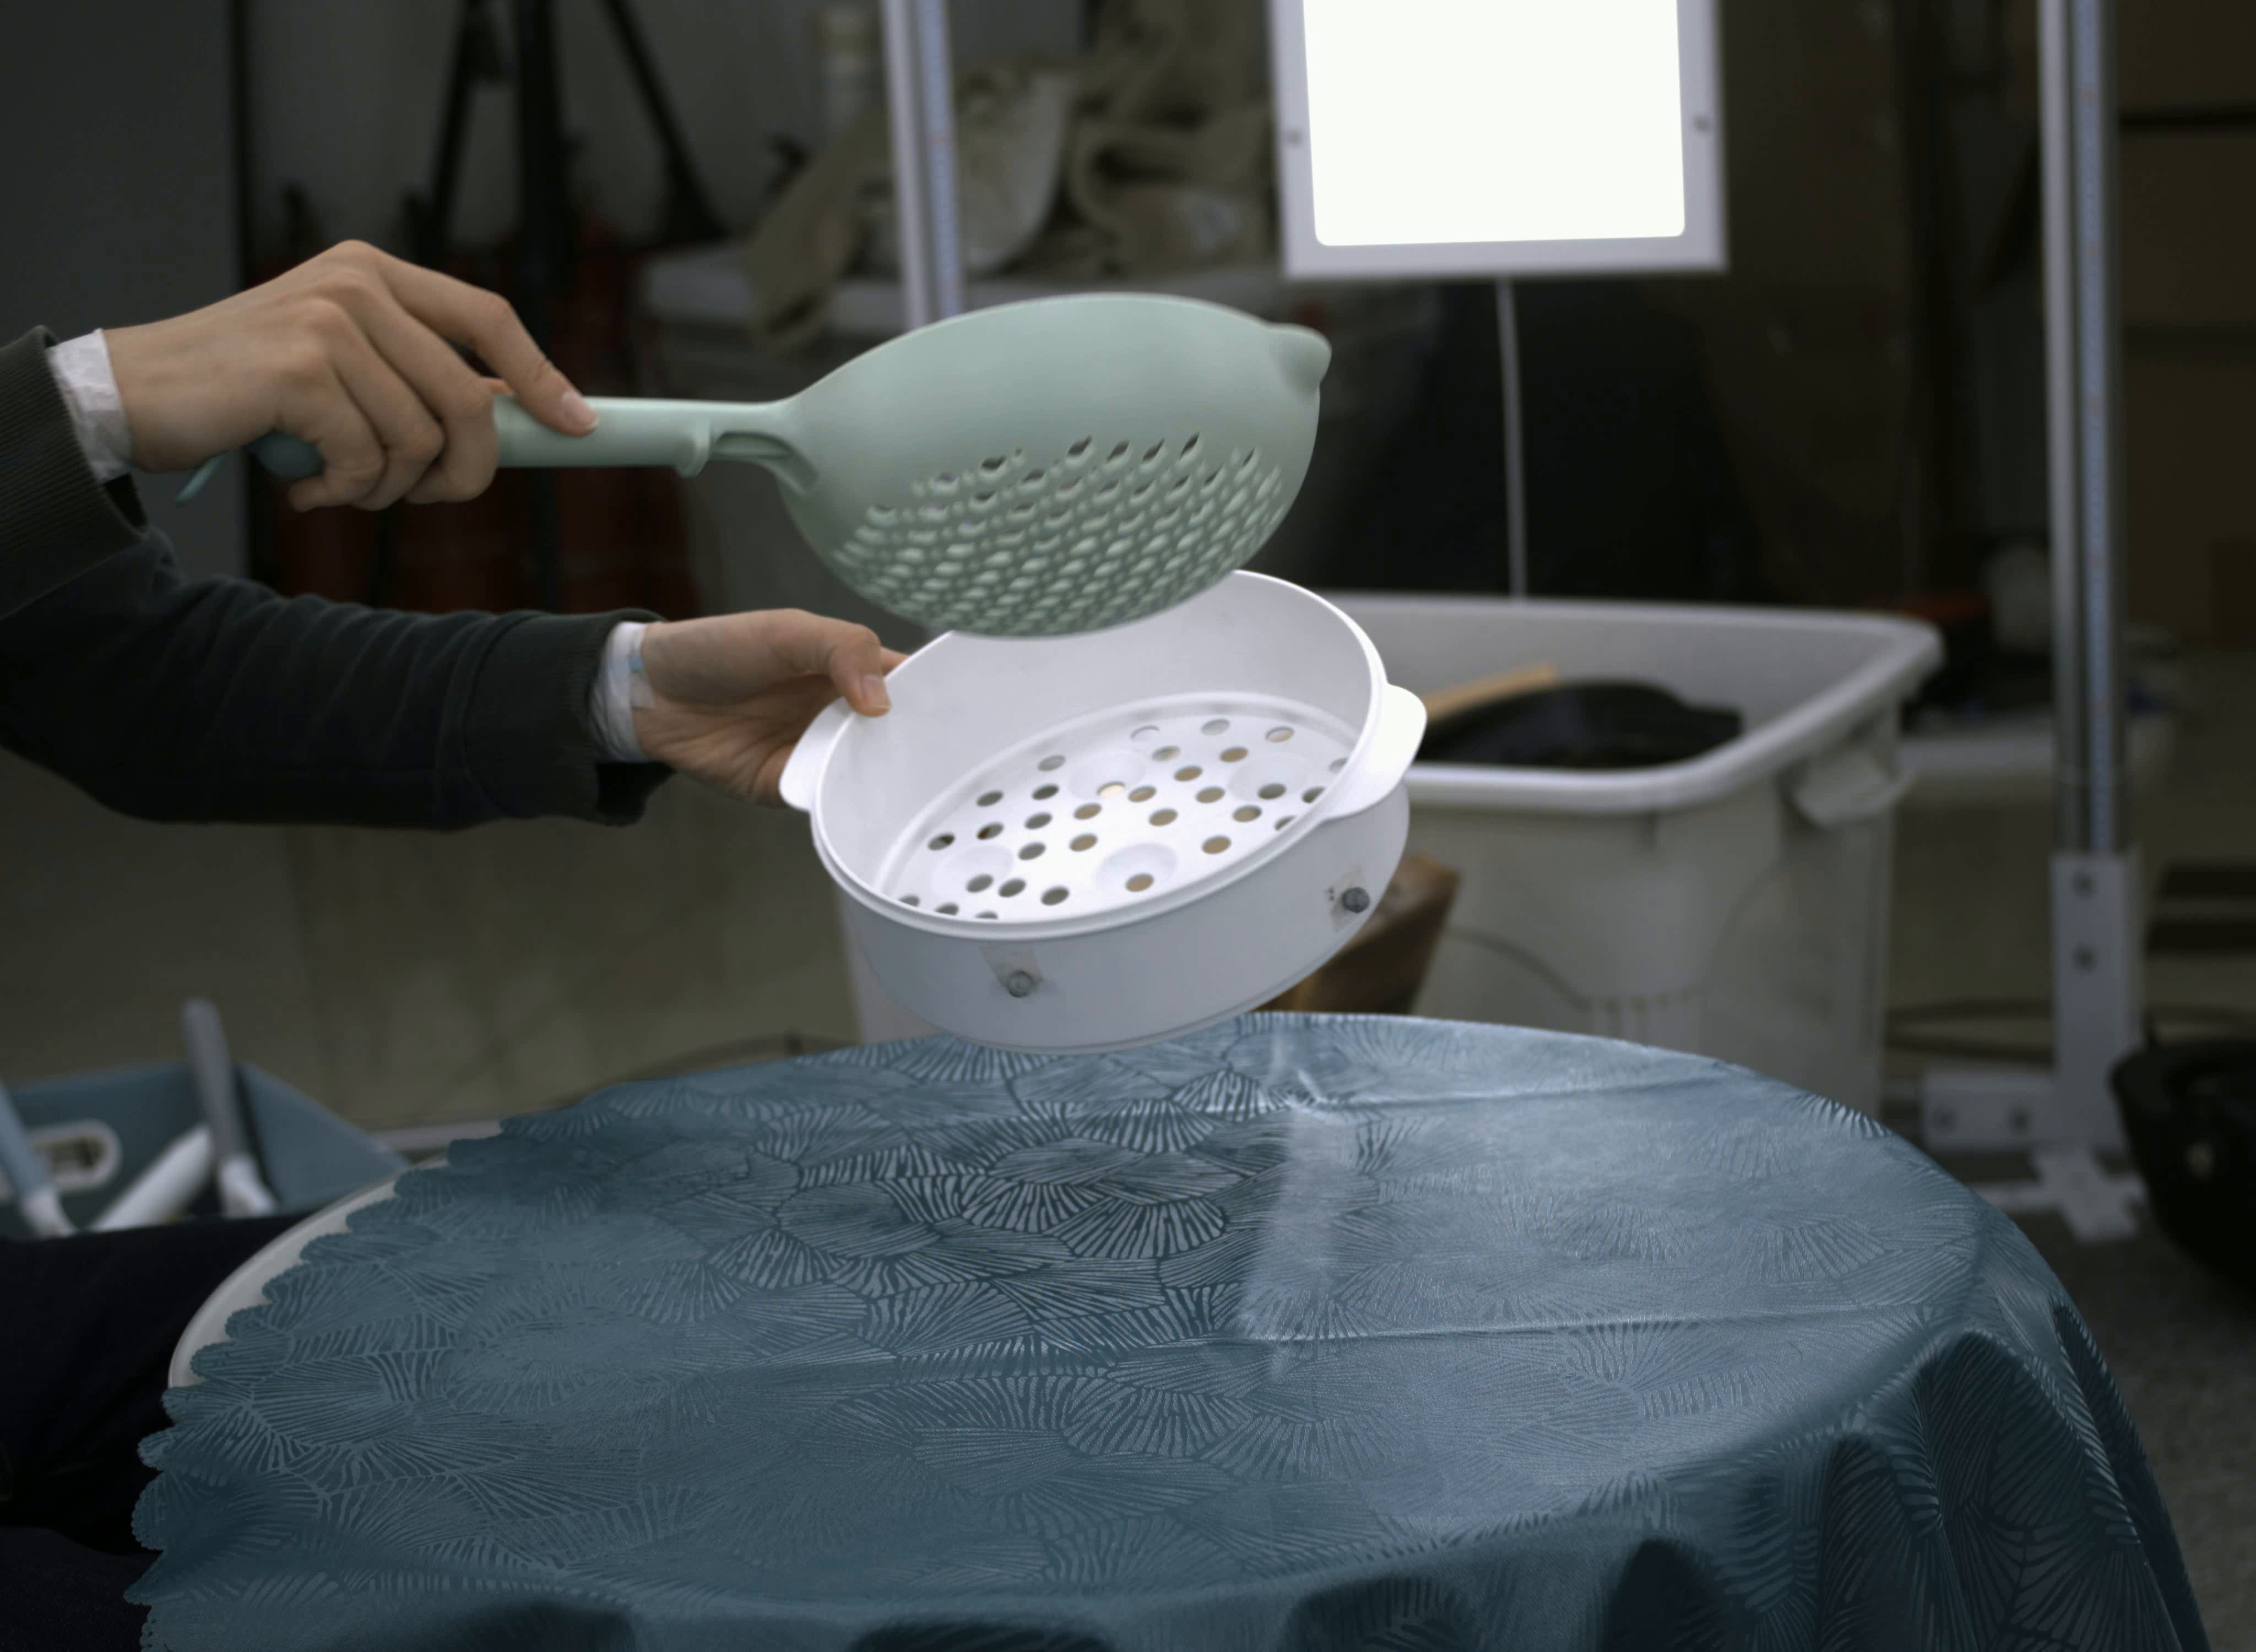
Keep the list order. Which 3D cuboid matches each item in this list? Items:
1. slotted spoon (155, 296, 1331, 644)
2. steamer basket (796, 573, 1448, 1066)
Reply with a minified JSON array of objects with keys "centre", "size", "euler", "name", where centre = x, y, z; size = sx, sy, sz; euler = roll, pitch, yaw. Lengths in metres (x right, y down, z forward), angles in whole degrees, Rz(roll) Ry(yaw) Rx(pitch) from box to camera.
[{"centre":[-0.112,-0.111,1.651],"size":[0.353,0.075,0.172],"euler":[8,-29,-18],"name":"slotted spoon"},{"centre":[0.003,-0.003,1.866],"size":[0.234,0.069,0.199],"euler":[0,38,25],"name":"steamer basket"}]
